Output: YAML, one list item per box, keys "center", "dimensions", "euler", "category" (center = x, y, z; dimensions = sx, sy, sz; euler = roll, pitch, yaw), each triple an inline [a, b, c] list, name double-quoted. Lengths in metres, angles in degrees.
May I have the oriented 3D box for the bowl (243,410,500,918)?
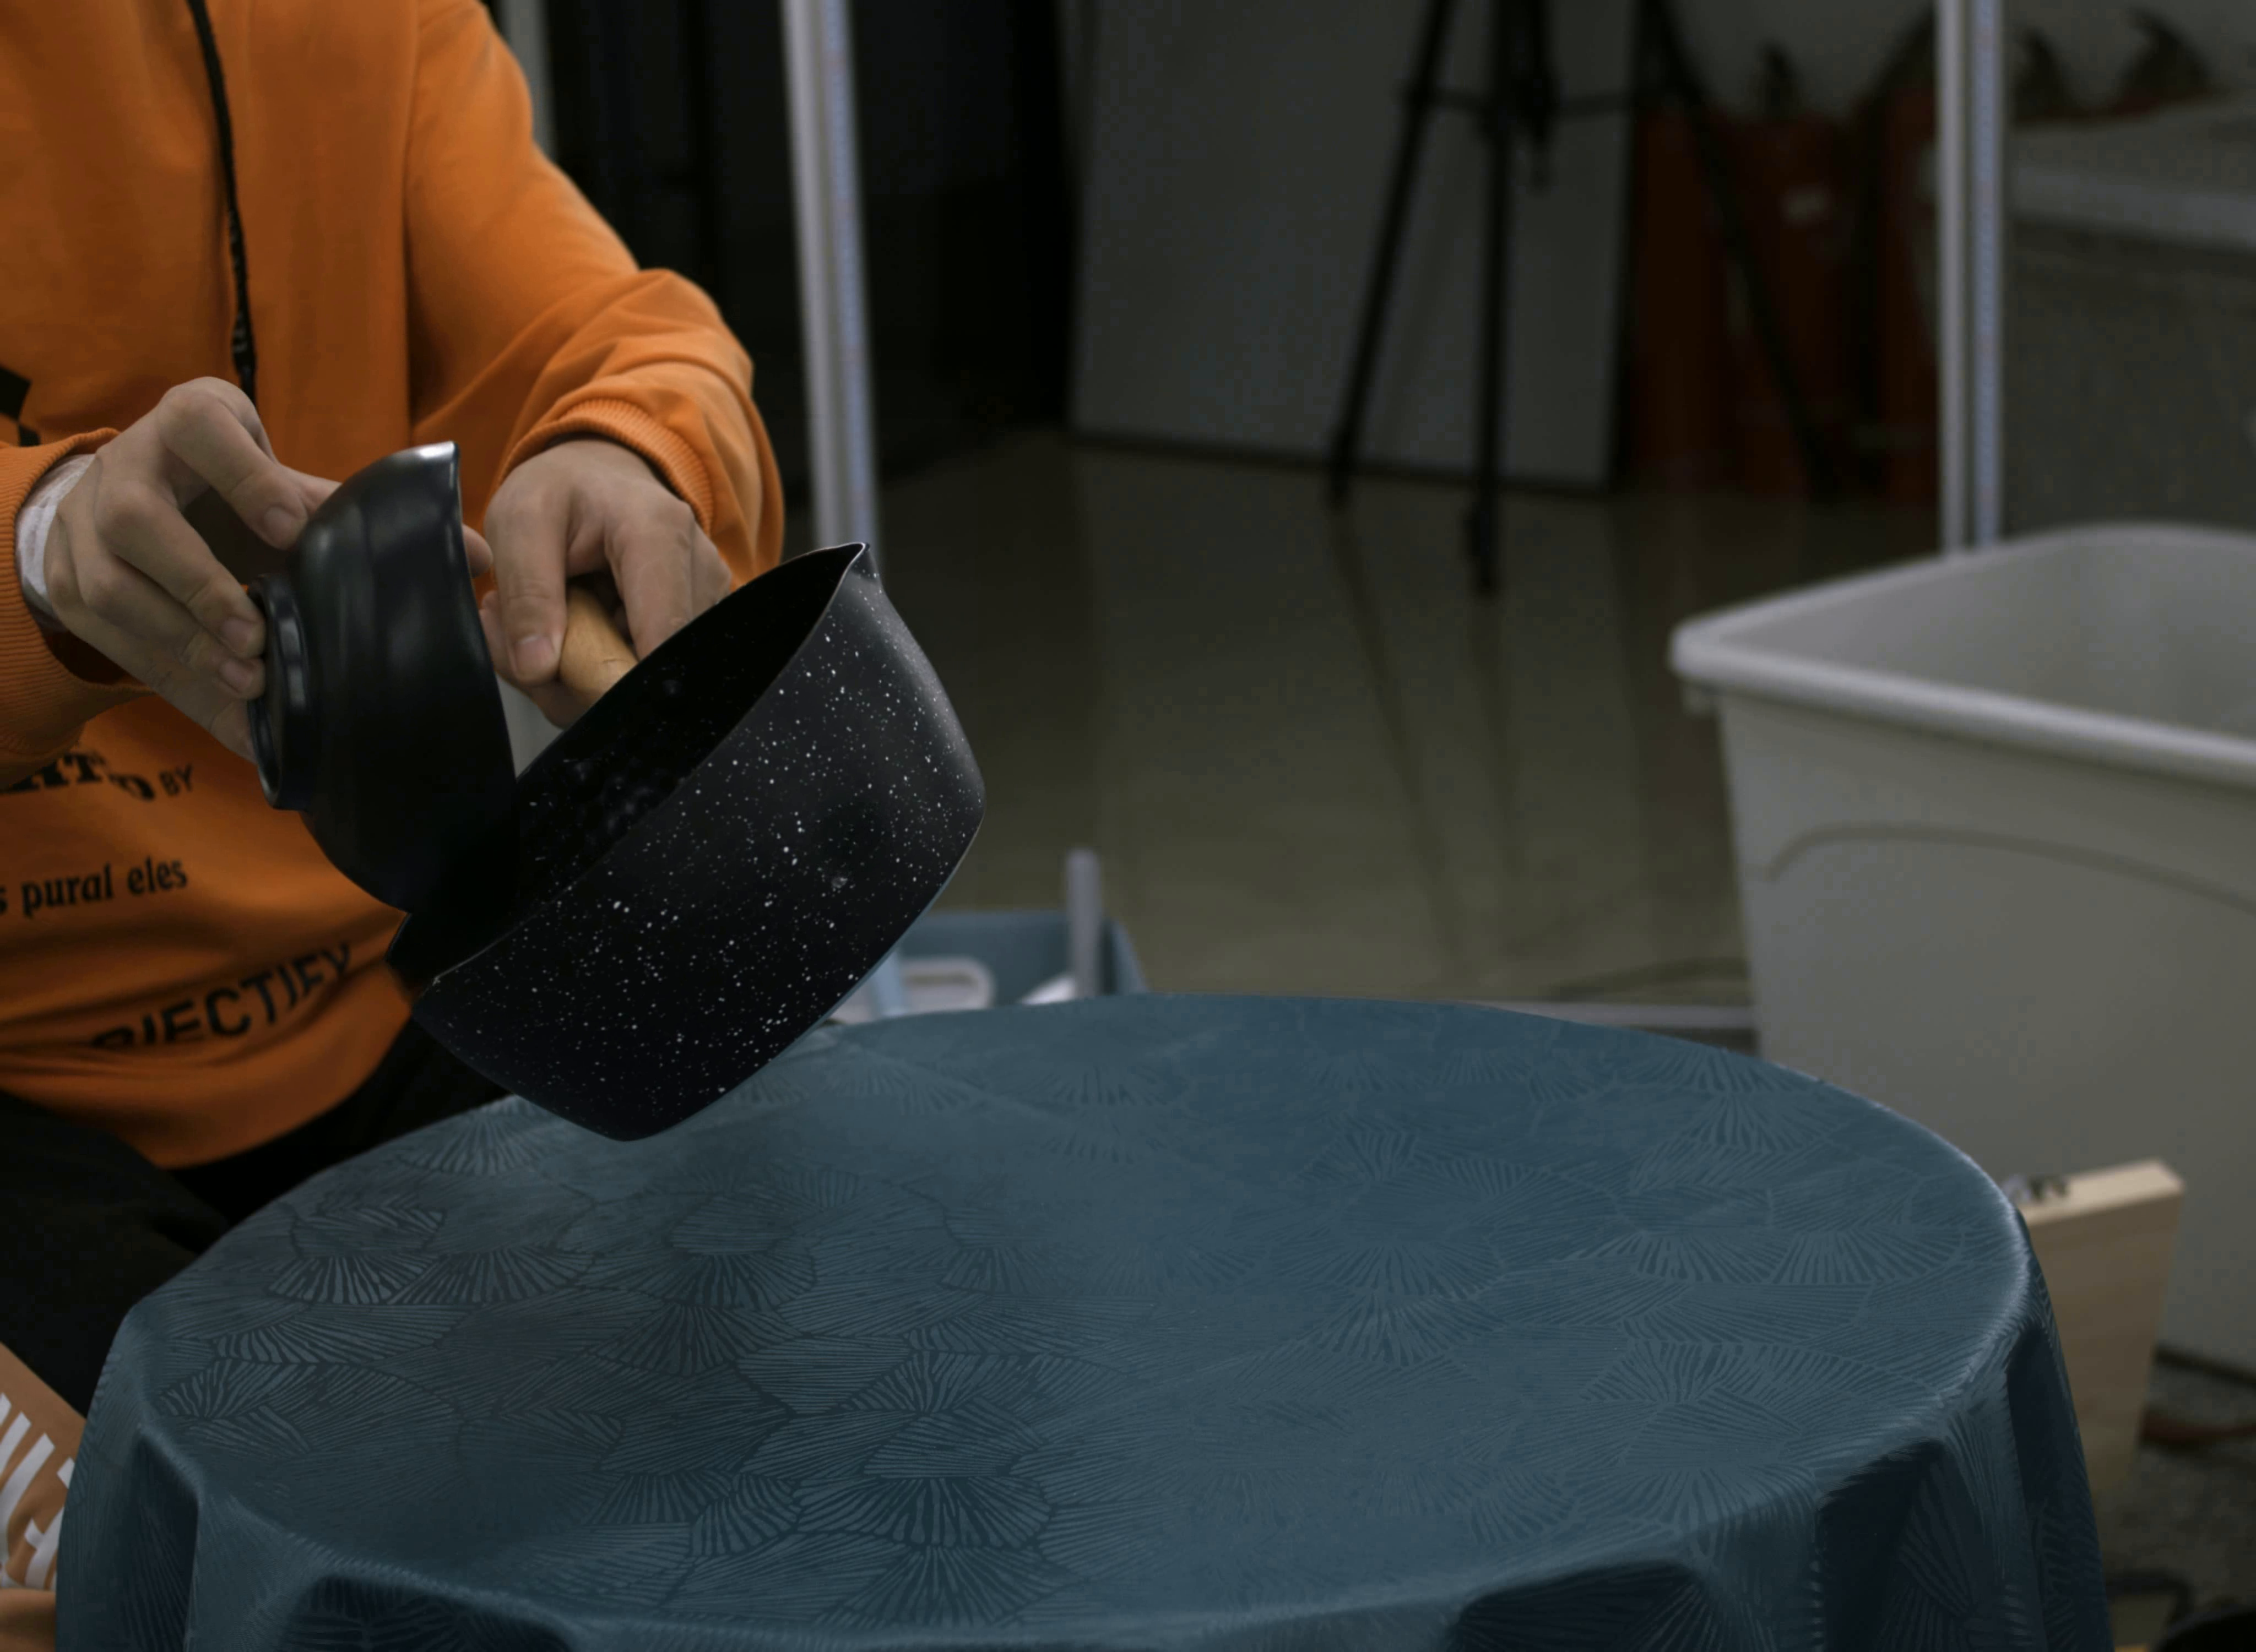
- center: [-0.217, -0.043, 1.546]
  dimensions: [0.065, 0.139, 0.171]
  euler: [-5, -22, -13]
  category: "bowl"

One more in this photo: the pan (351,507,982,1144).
- center: [-0.144, -0.014, 1.653]
  dimensions: [0.207, 0.107, 0.344]
  euler: [-44, 15, 2]
  category: "pan"
